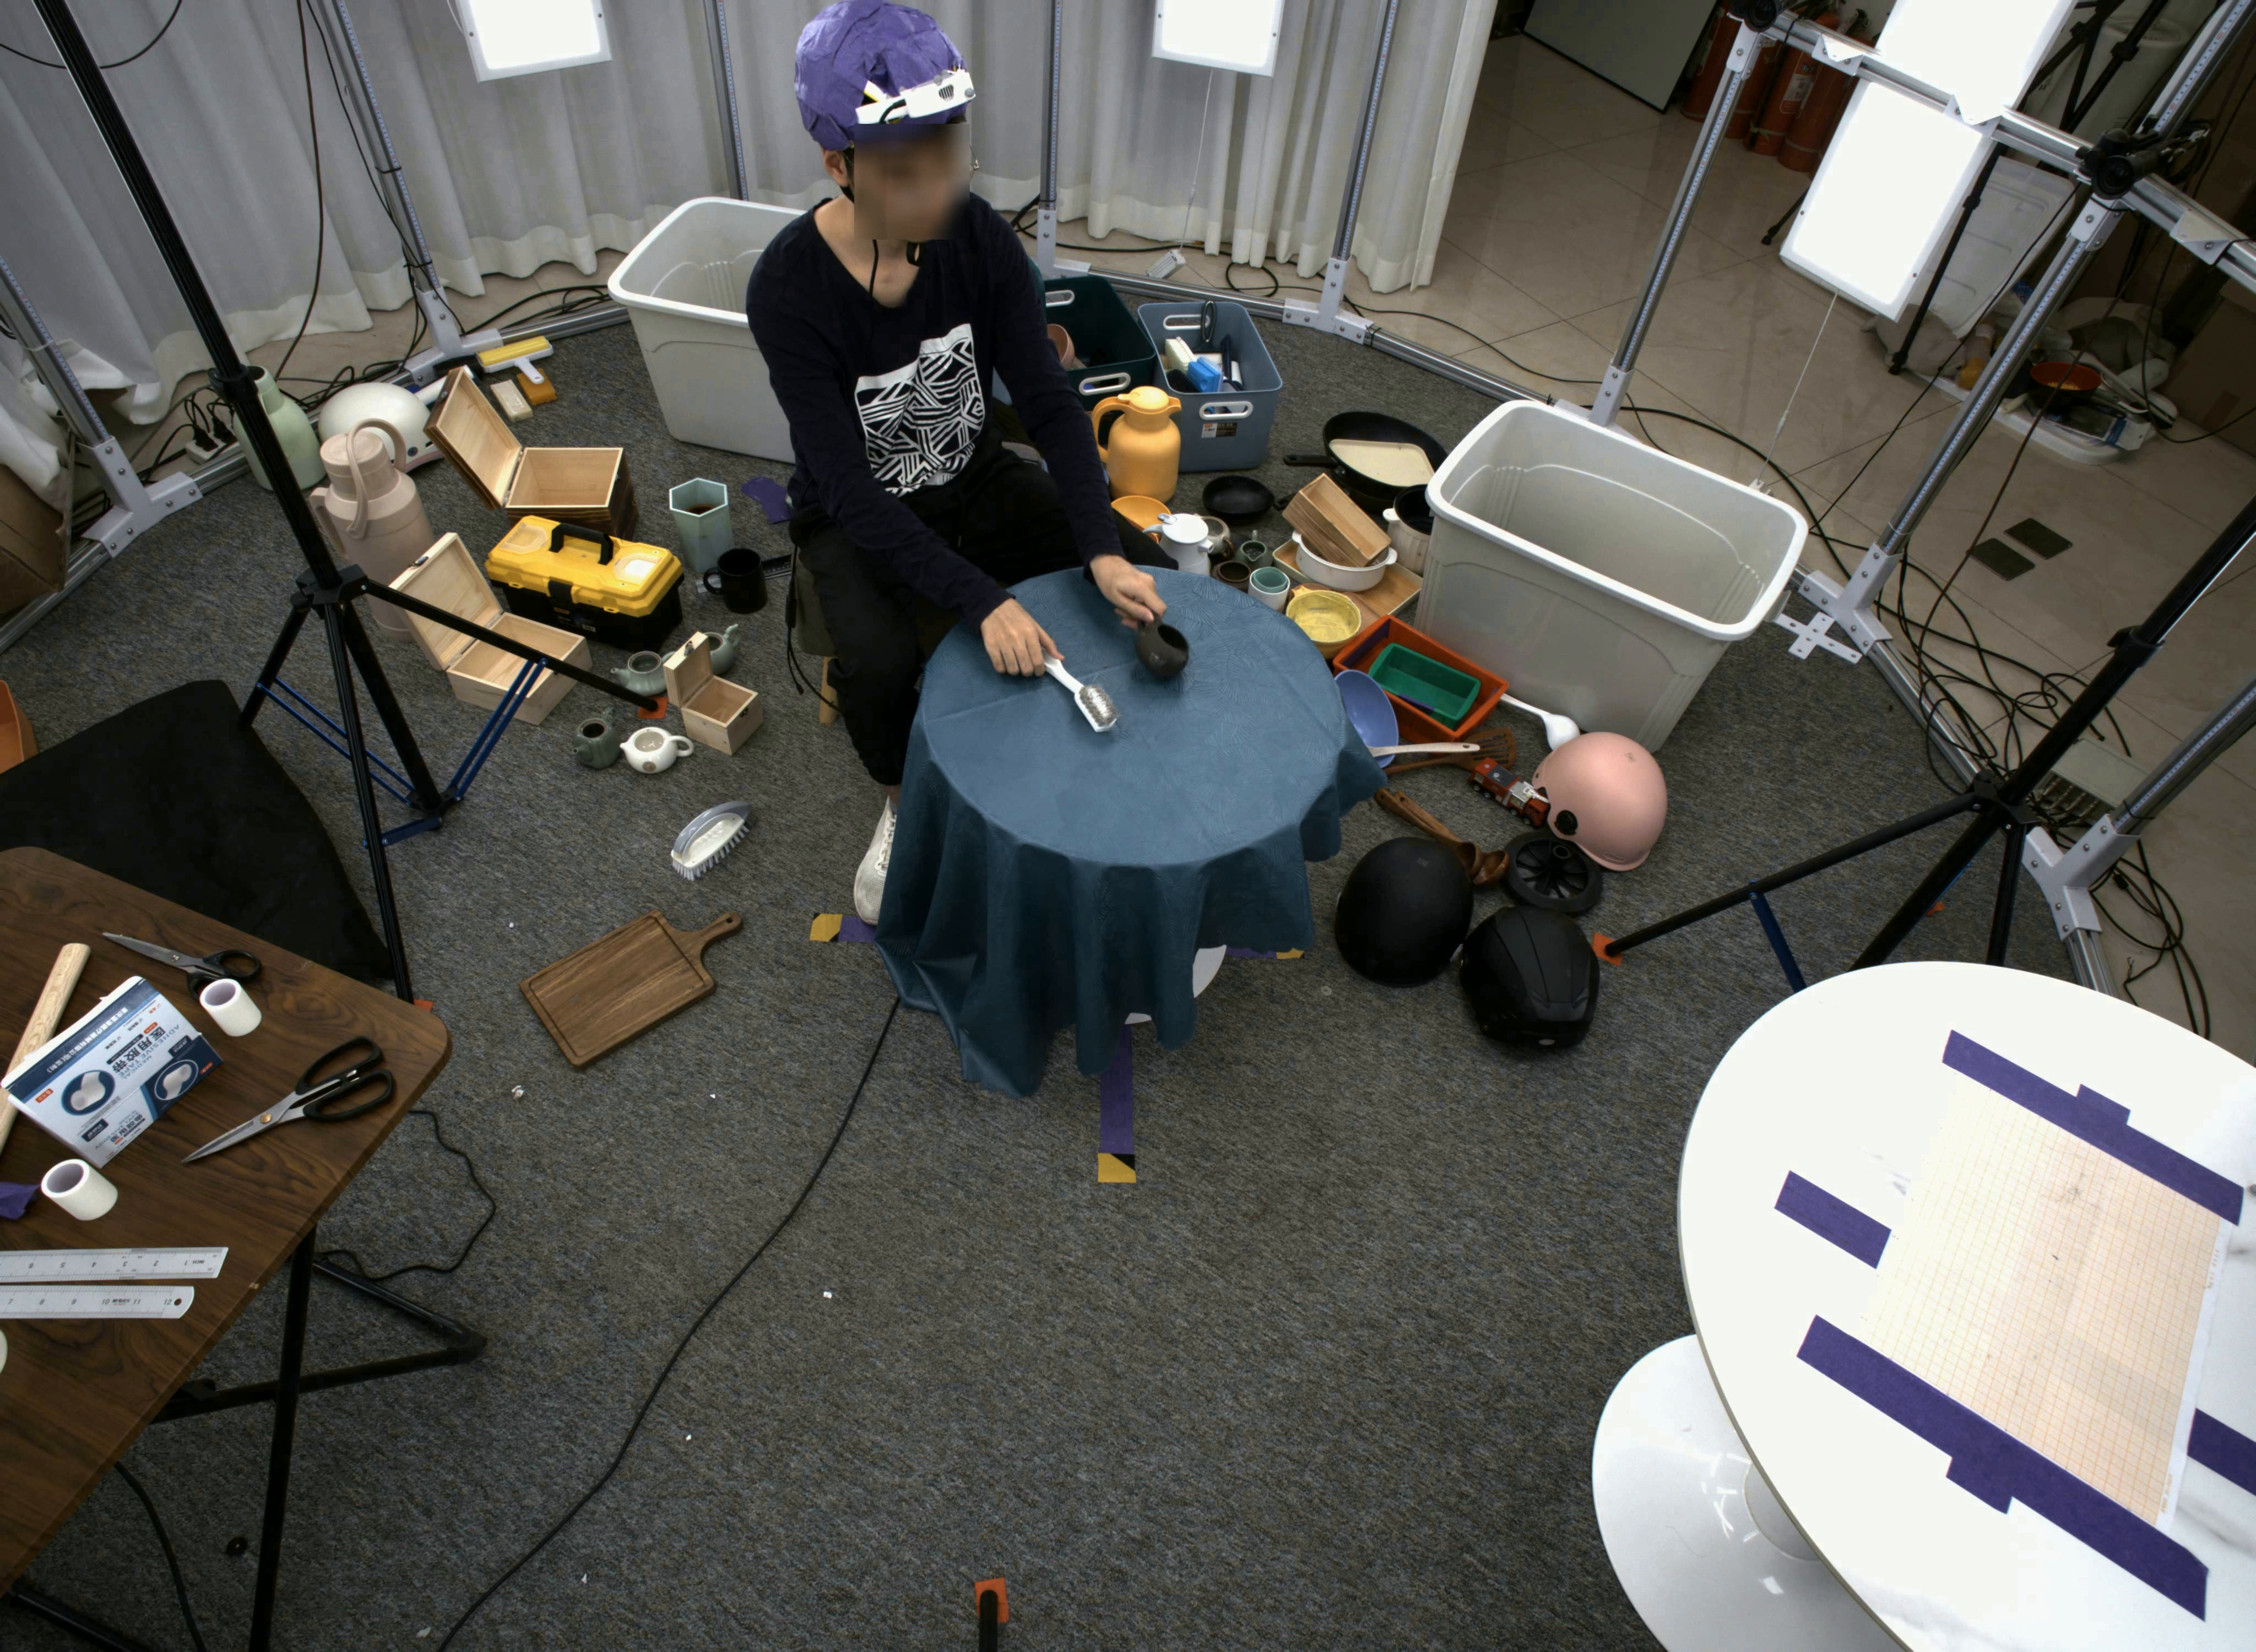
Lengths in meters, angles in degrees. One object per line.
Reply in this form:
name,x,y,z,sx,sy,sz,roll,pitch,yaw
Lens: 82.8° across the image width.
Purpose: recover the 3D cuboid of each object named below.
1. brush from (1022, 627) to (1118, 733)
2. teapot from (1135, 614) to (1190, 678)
brush,-0.087,-0.222,1.824,0.034,0.049,0.249,-25,55,-17
teapot,0.045,-0.261,1.848,0.082,0.052,0.116,-4,53,-42
